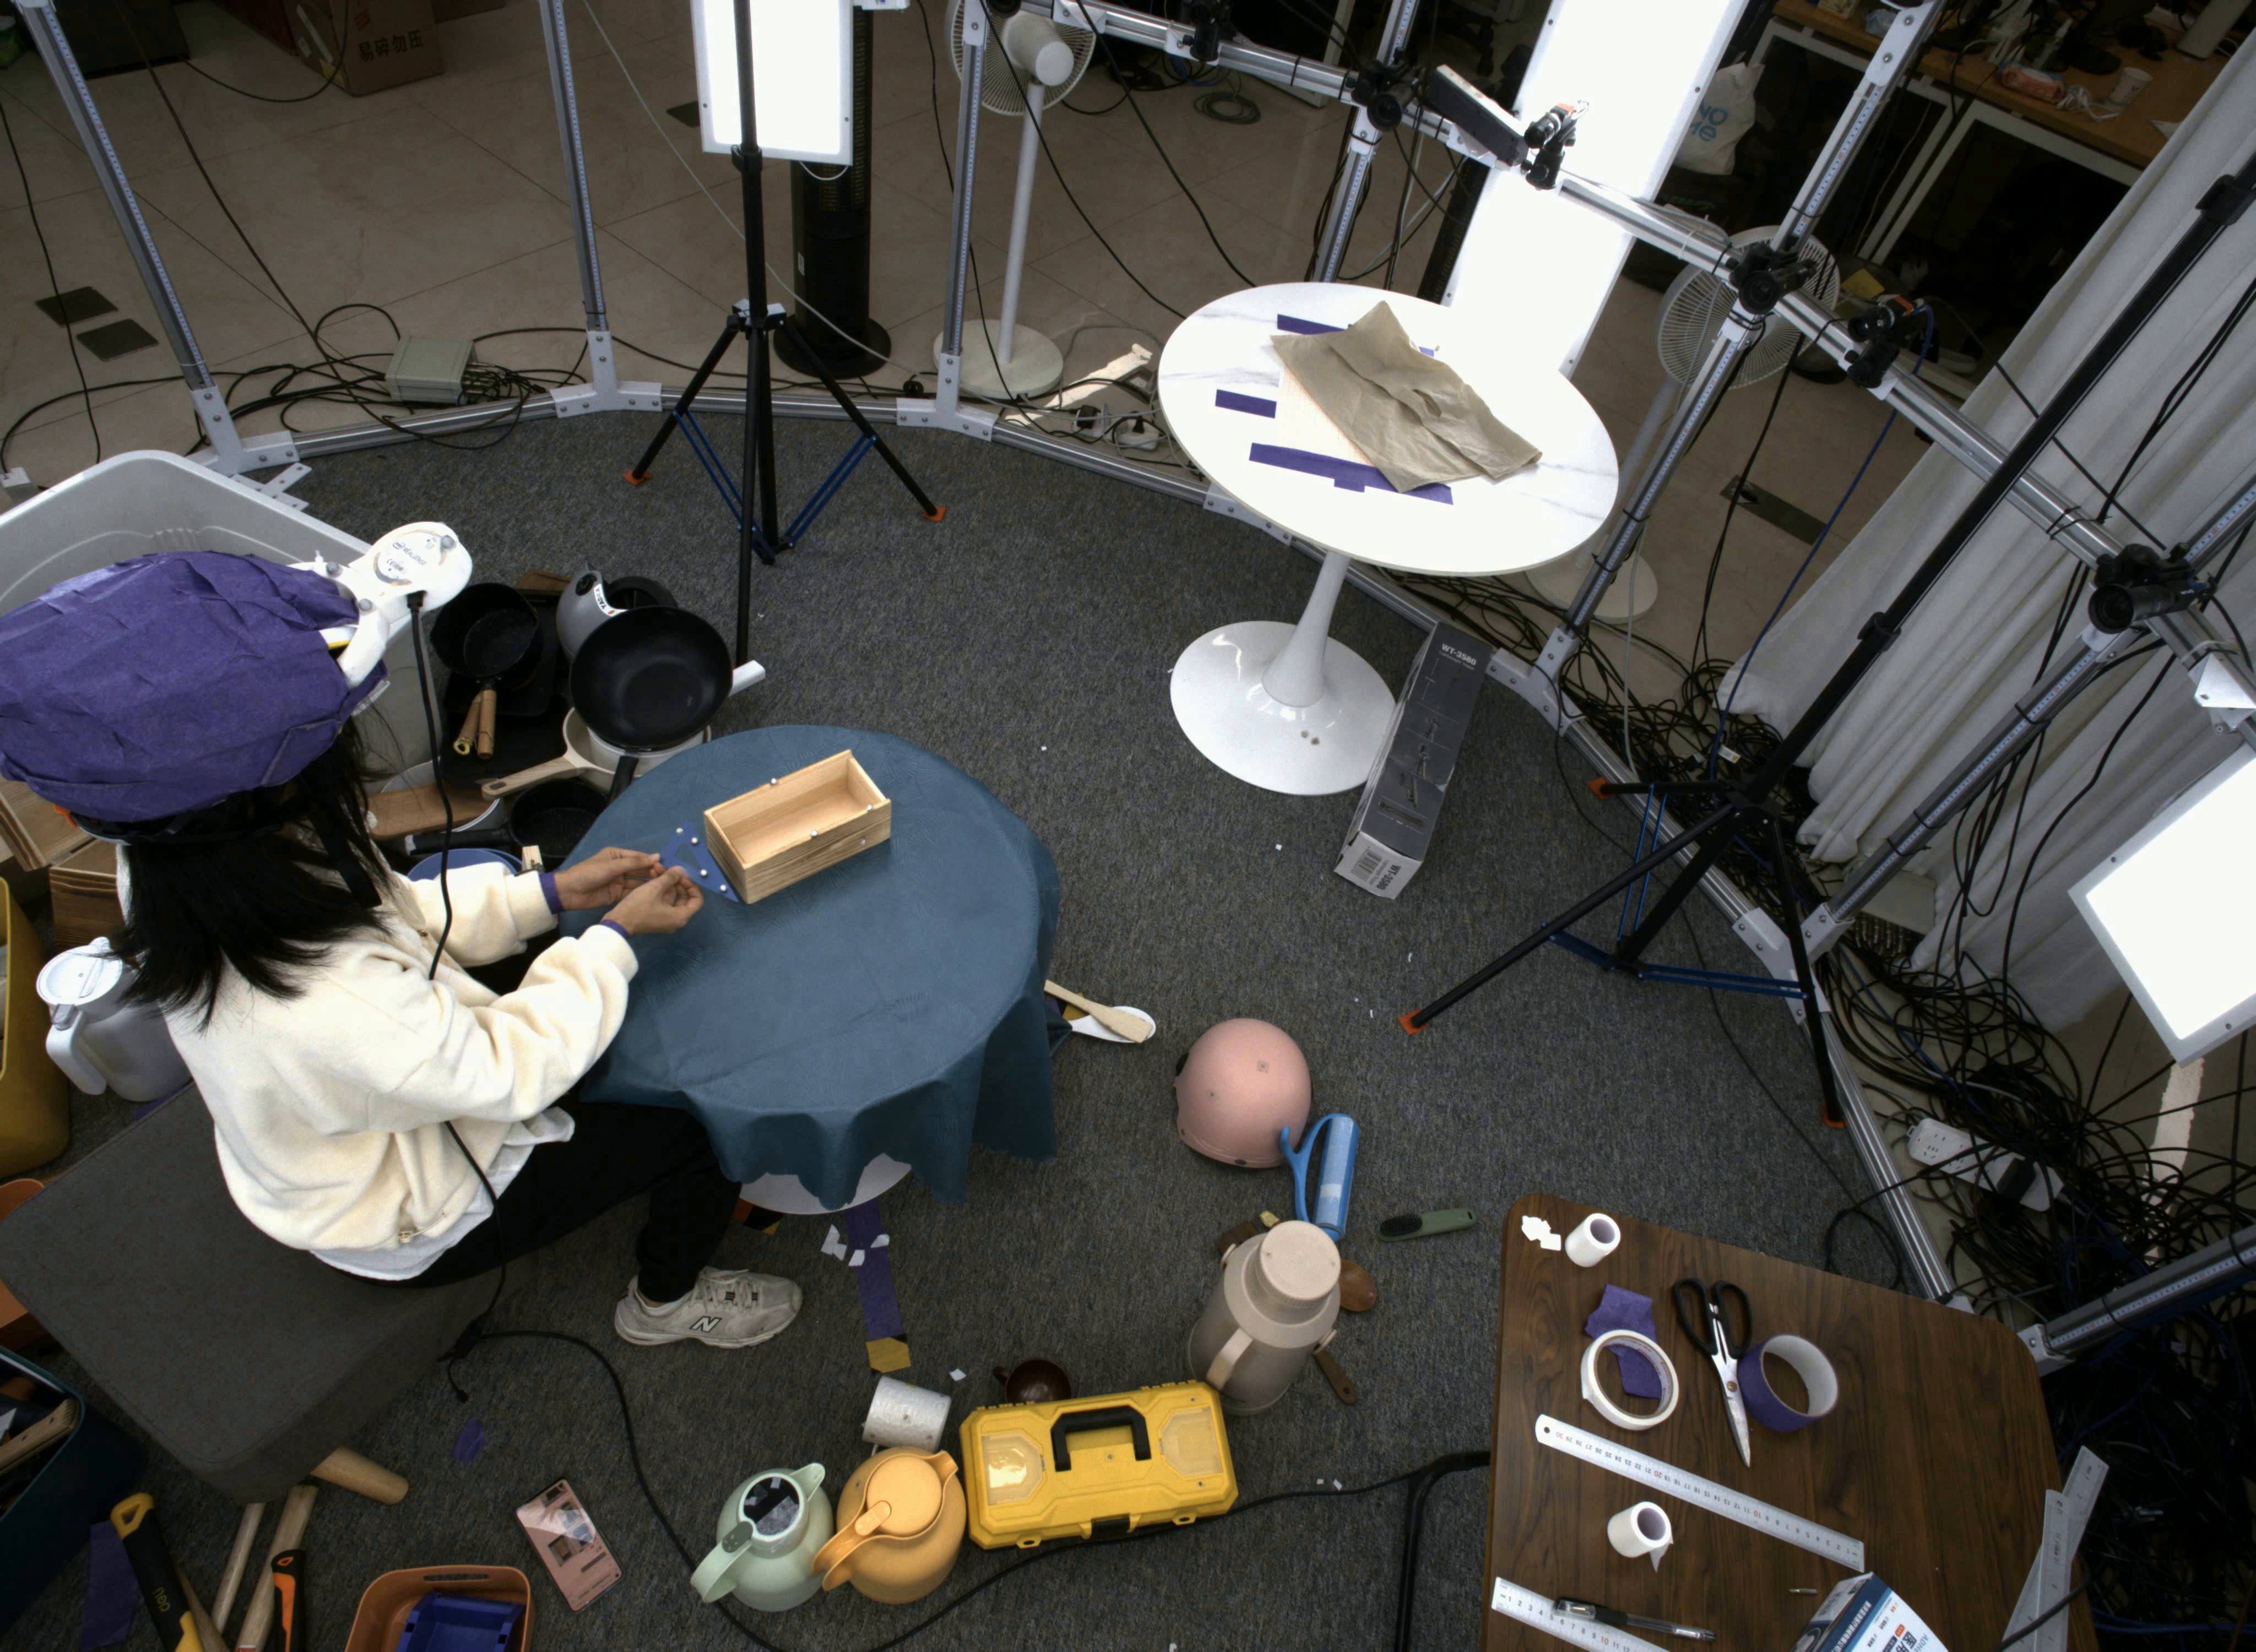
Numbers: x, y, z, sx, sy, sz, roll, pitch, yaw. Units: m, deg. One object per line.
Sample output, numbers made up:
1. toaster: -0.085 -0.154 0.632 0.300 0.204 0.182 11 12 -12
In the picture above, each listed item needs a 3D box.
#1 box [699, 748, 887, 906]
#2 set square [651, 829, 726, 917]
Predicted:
1. box: -0.427 -0.002 1.668 0.212 0.082 0.105 -29 63 -31
2. set square: -0.529 0.061 1.539 0.061 0.007 0.129 -24 67 -23
